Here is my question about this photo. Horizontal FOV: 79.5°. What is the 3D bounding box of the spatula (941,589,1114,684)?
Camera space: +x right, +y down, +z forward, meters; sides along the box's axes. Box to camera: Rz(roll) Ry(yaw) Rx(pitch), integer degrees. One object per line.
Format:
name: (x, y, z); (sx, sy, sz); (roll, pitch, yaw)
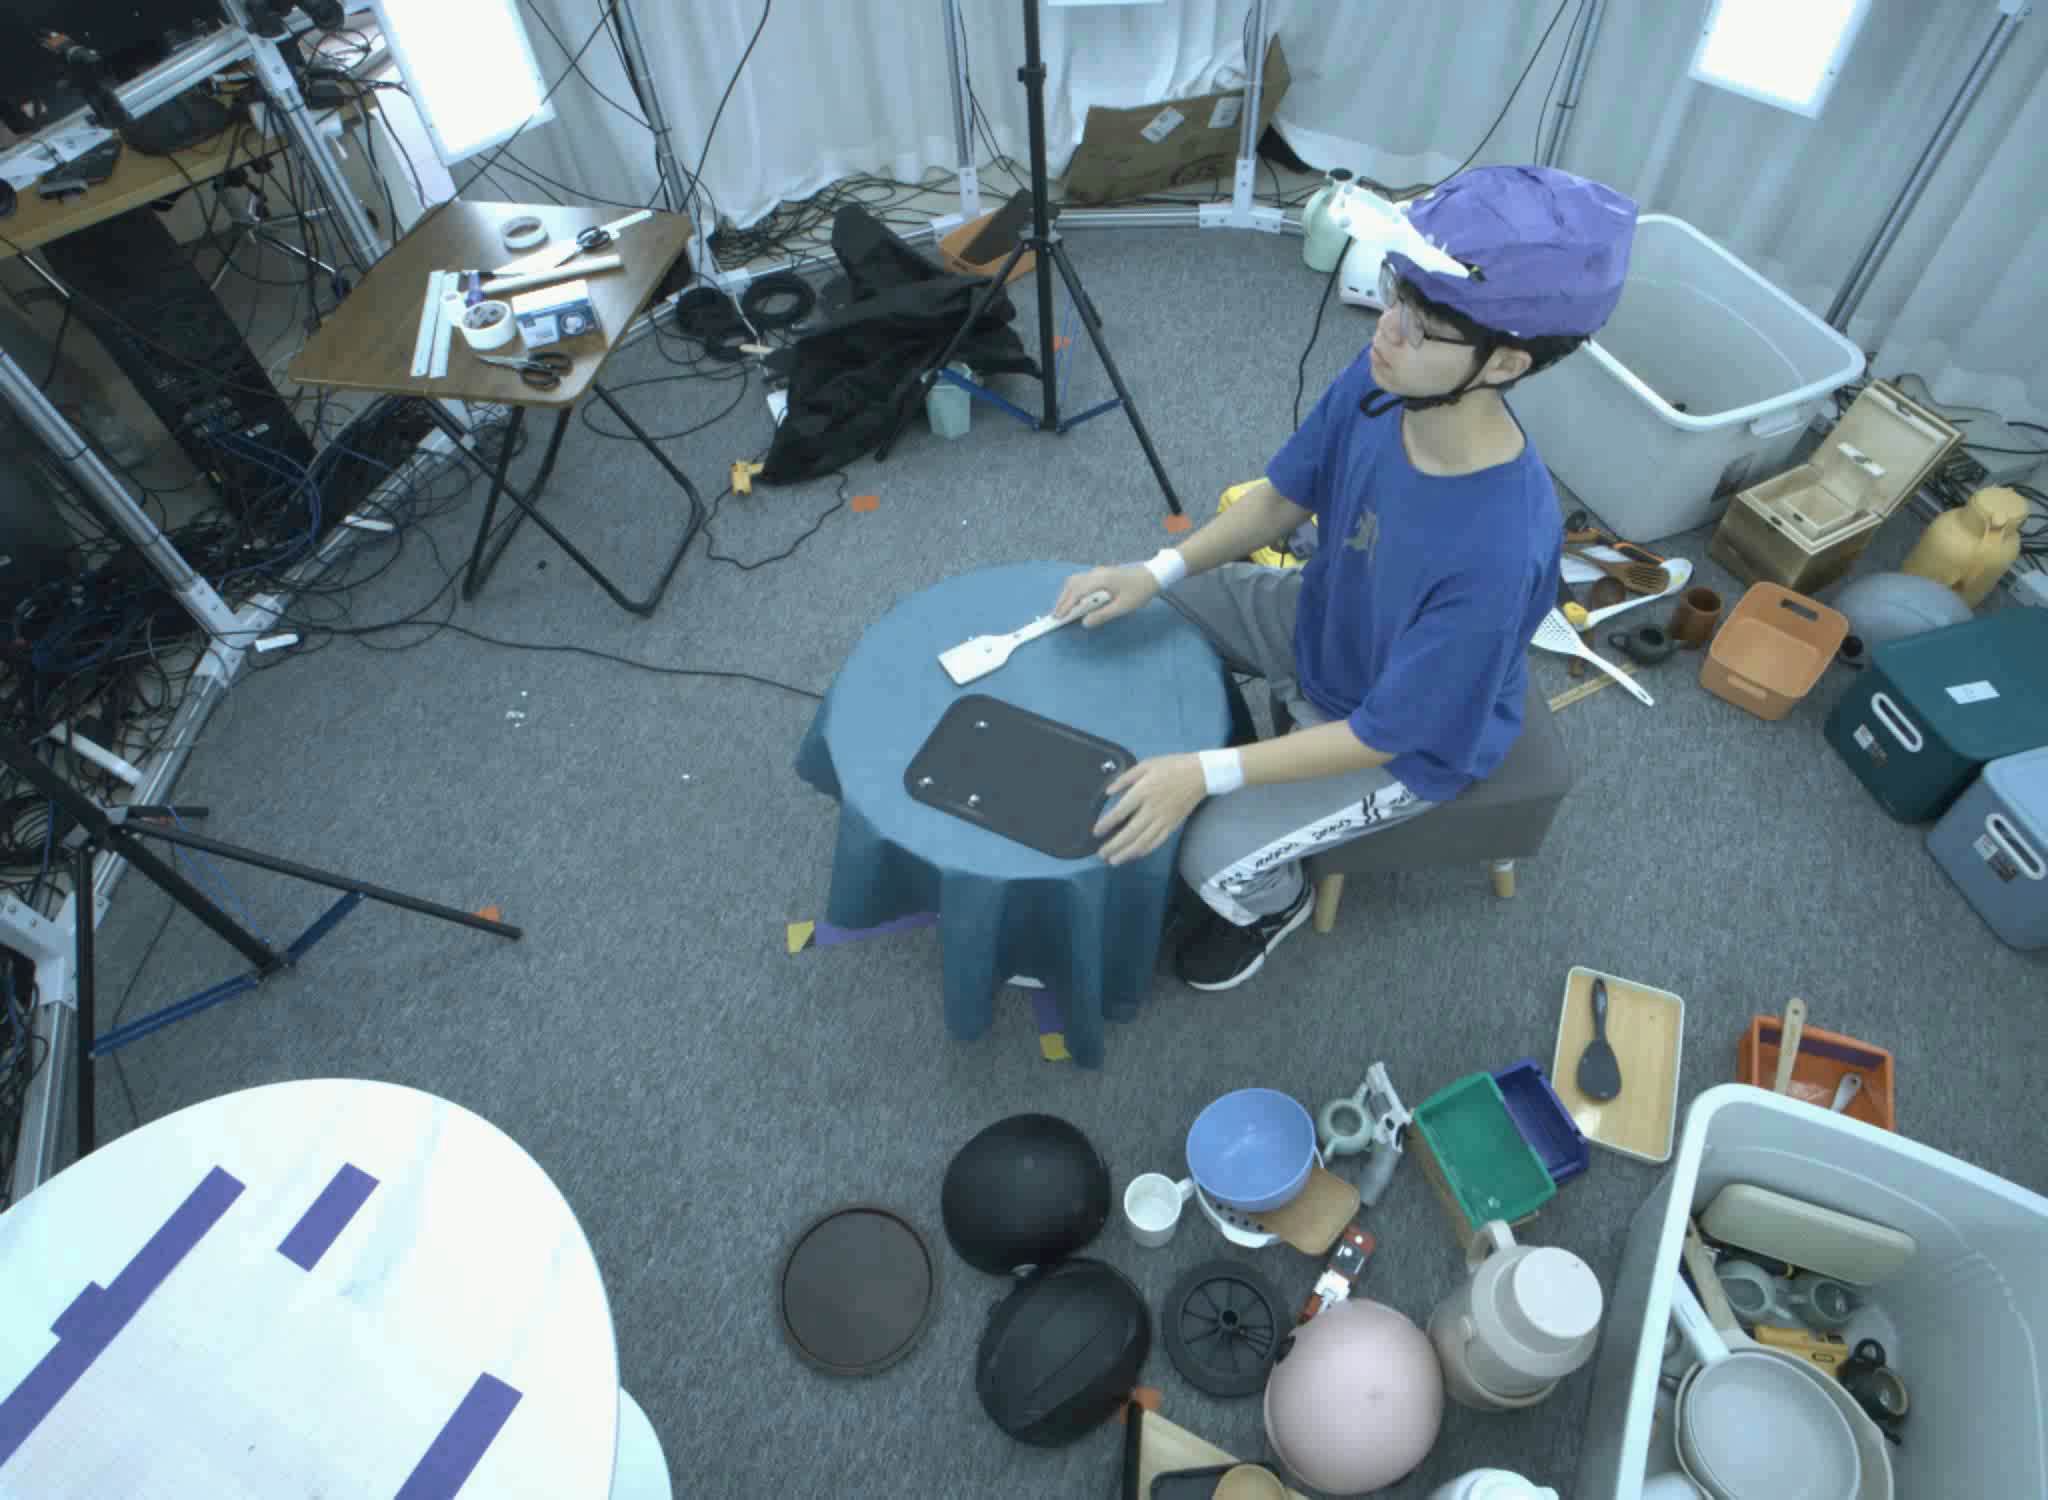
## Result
spatula: (0.012, -0.184, 1.904); (0.295, 0.011, 0.071); (-27, 57, -16)

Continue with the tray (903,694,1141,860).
tray: (0.003, 0.035, 1.749); (0.321, 0.010, 0.211); (22, 58, 17)
